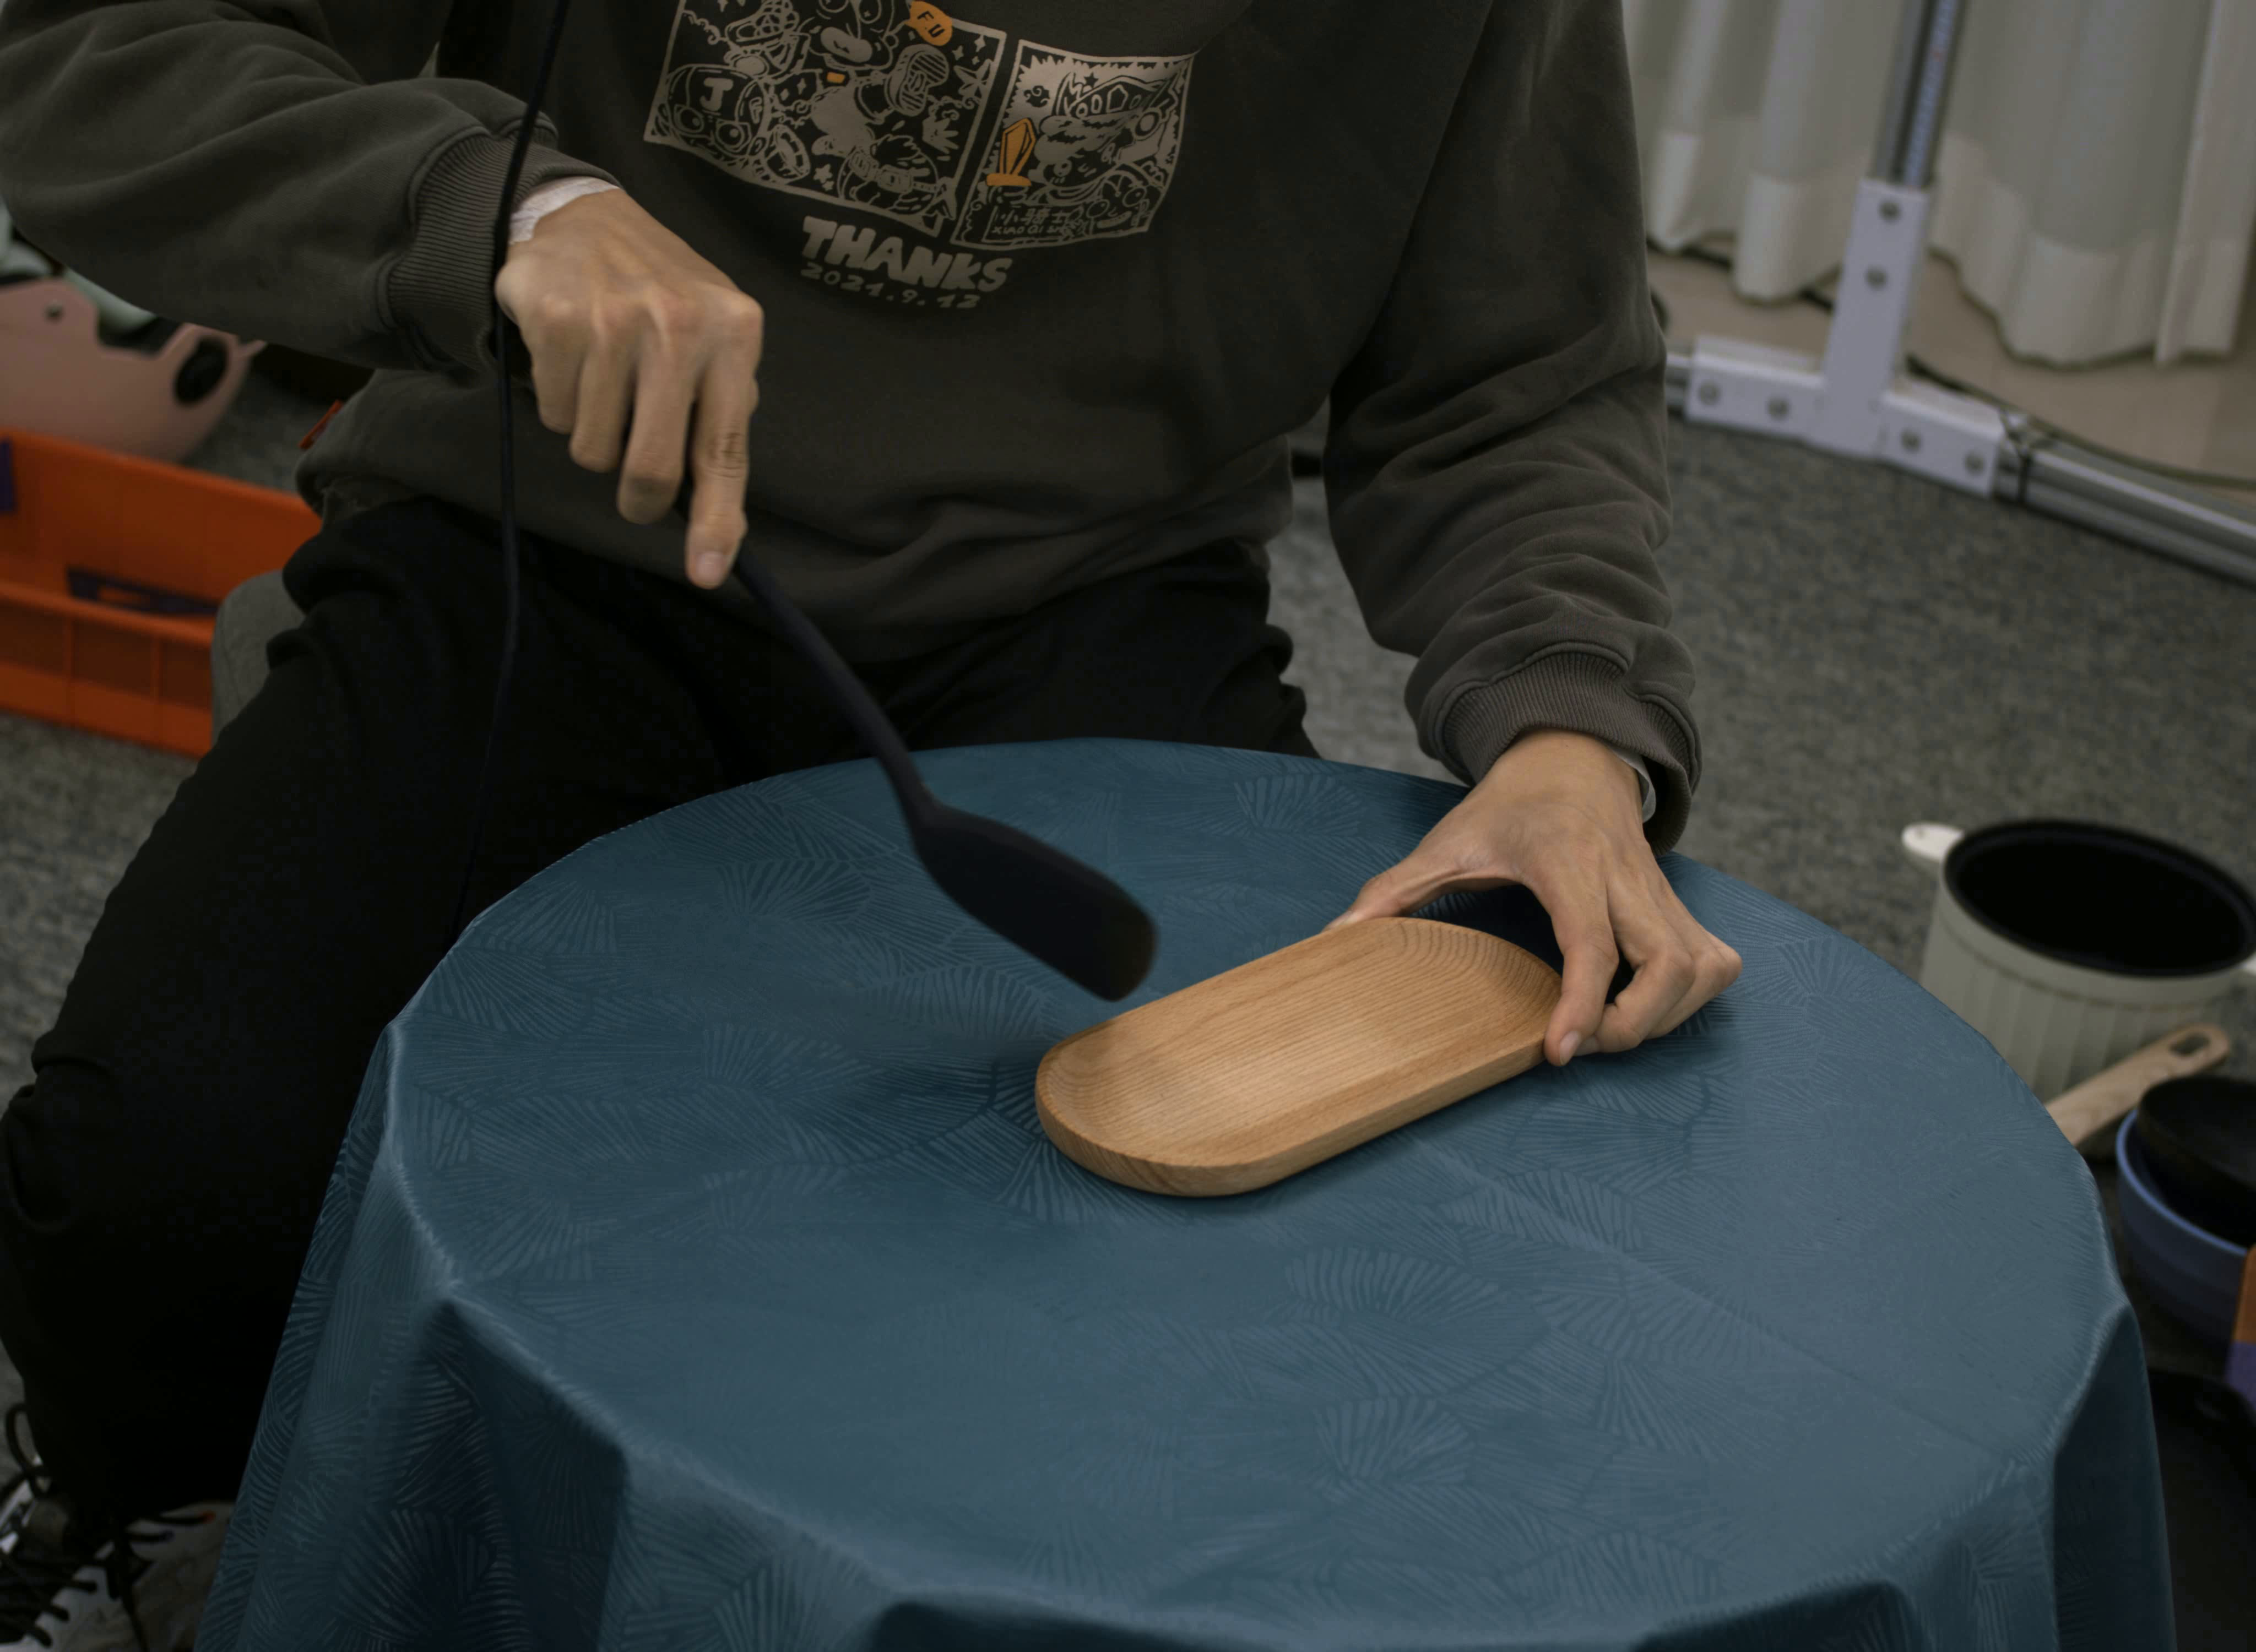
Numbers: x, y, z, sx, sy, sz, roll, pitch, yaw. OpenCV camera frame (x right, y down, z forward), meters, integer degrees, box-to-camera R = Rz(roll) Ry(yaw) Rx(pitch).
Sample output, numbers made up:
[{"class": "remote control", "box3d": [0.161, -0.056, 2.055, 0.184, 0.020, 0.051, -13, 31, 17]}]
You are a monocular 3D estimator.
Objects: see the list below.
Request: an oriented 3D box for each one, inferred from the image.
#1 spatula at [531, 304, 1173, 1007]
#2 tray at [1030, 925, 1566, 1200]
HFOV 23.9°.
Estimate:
[{"class": "spatula", "box3d": [-0.101, -0.065, 1.863, 0.040, 0.099, 0.327, -34, 78, -22]}, {"class": "tray", "box3d": [0.062, 0.083, 1.882, 0.230, 0.020, 0.102, -21, 36, -41]}]
